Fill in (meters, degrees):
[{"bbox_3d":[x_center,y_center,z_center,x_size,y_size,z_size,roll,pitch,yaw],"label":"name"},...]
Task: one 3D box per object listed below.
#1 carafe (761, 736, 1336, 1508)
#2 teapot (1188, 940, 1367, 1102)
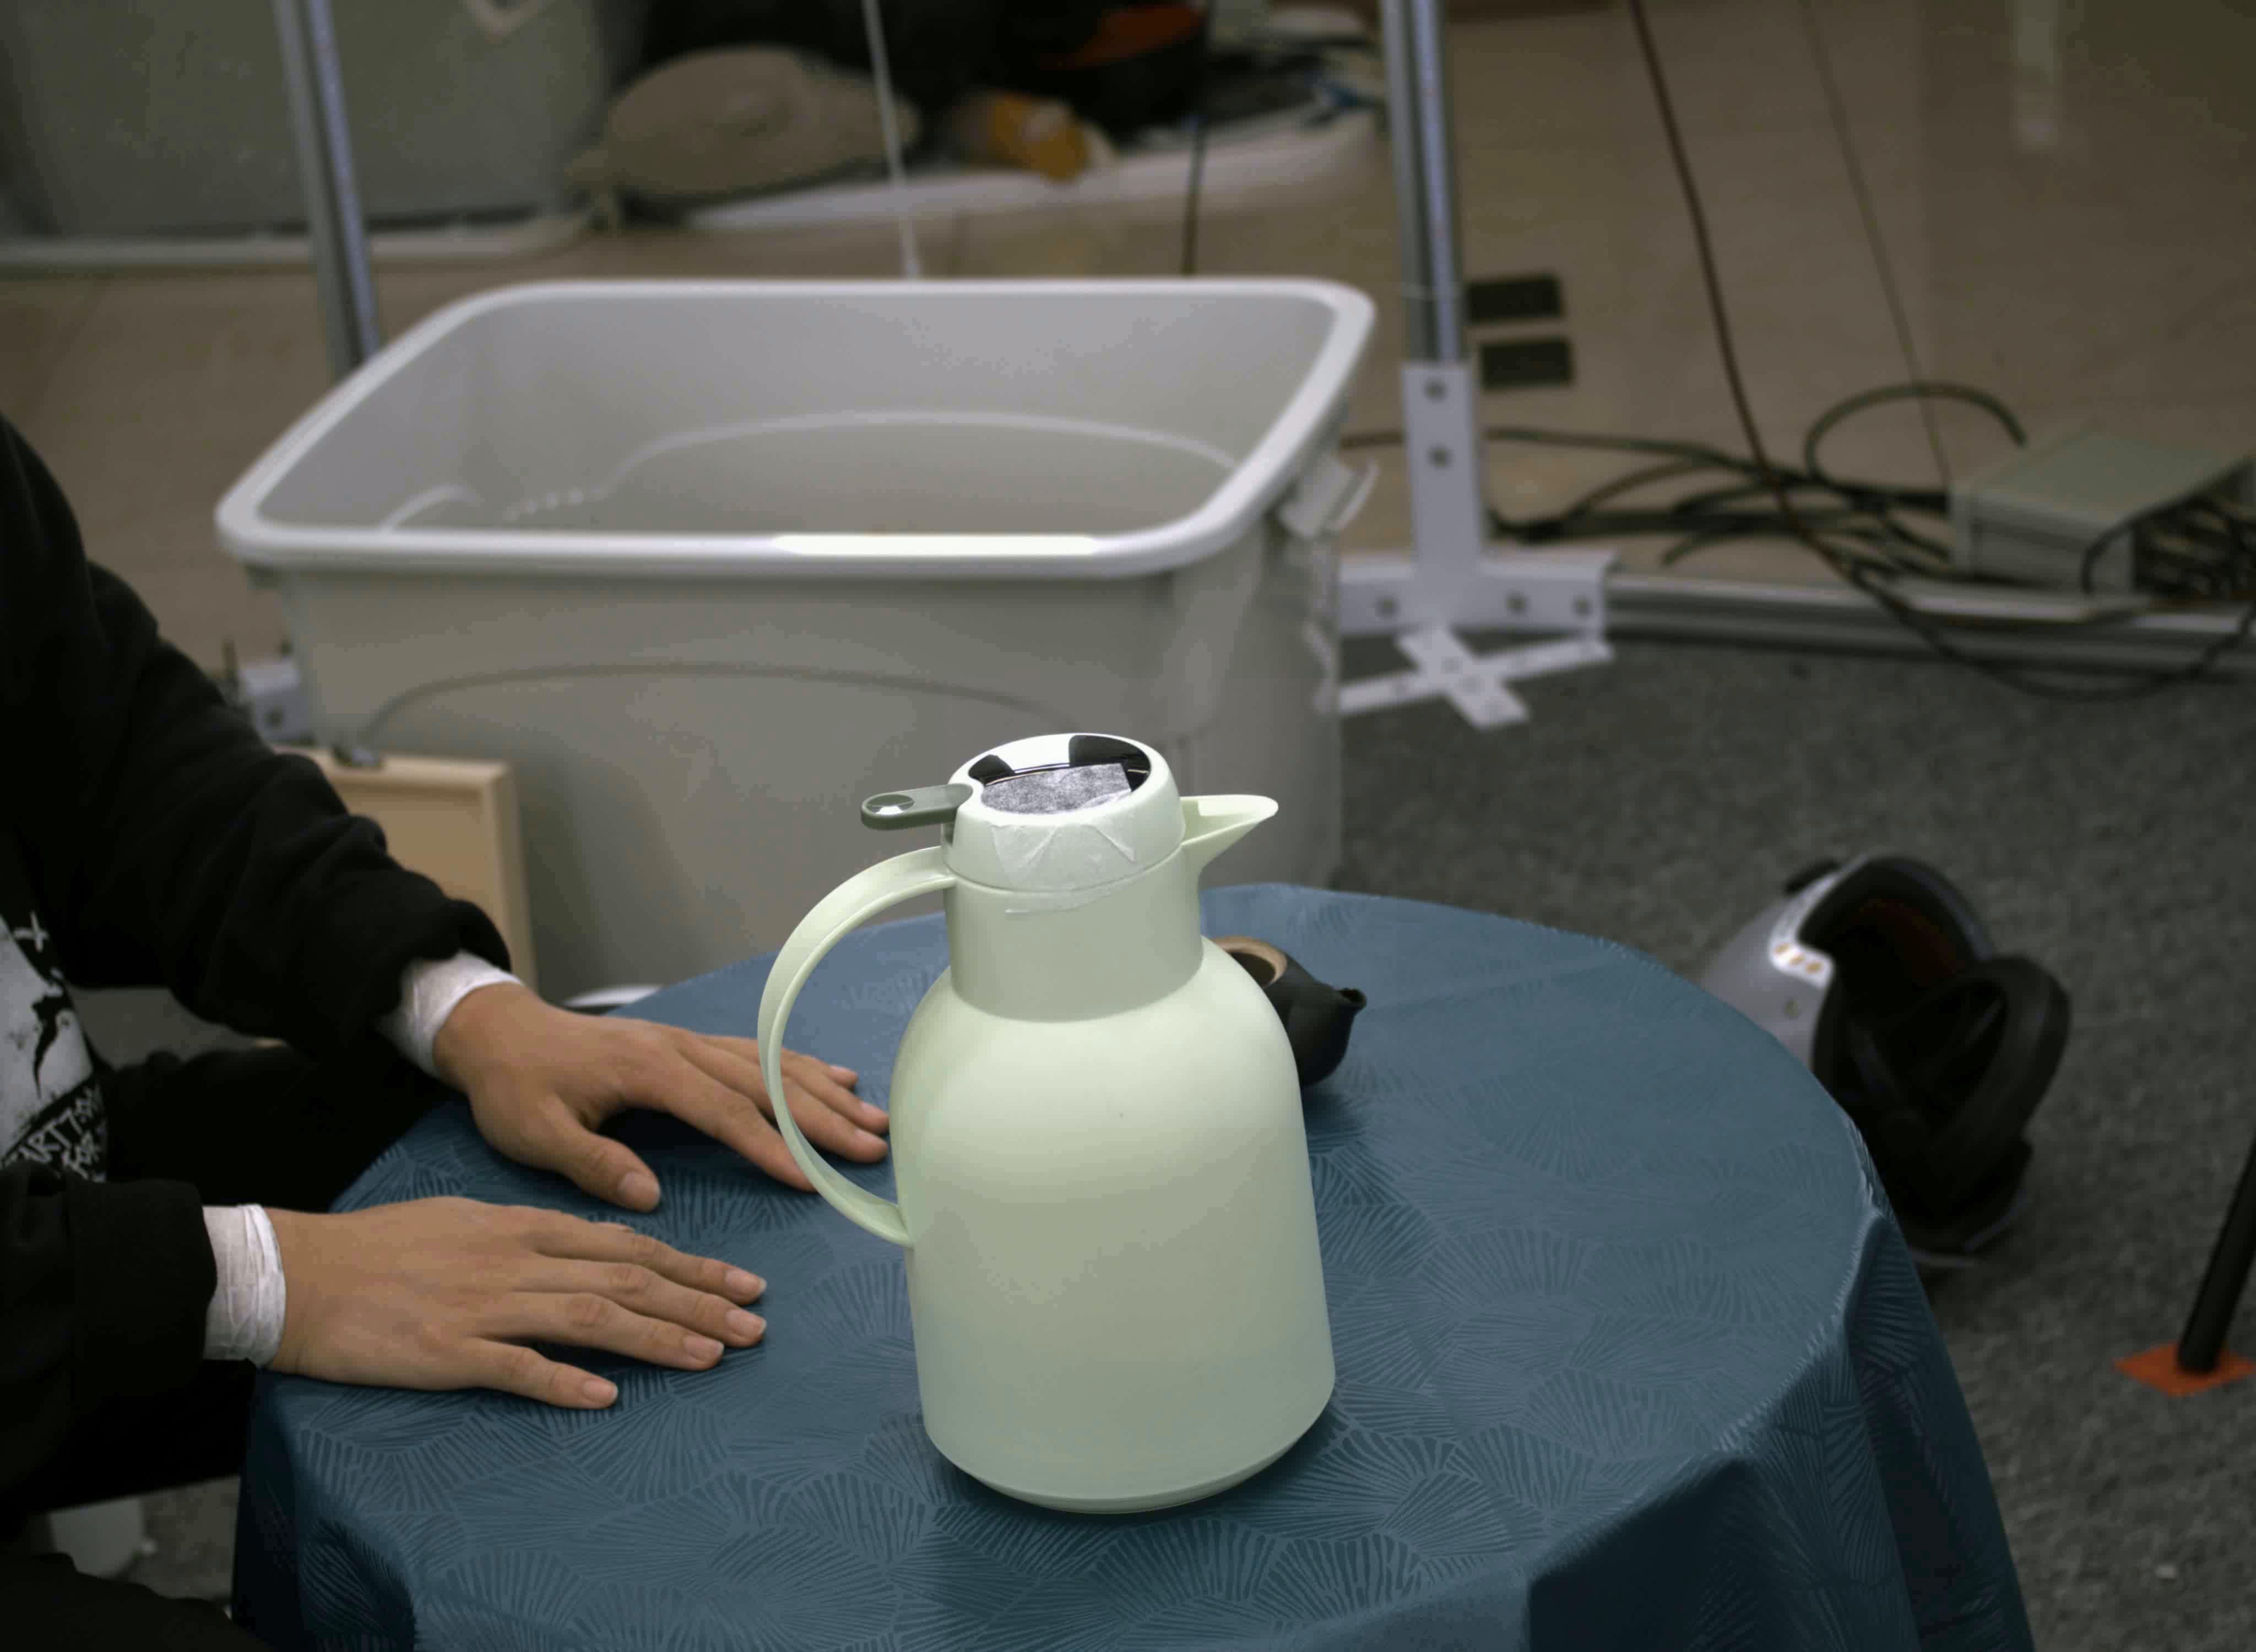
[{"bbox_3d":[-0.025,0.099,1.941,0.186,0.261,0.142,-14,28,-7],"label":"carafe"},{"bbox_3d":[0.035,0.079,2.205,0.132,0.054,0.090,8,27,29],"label":"teapot"}]
